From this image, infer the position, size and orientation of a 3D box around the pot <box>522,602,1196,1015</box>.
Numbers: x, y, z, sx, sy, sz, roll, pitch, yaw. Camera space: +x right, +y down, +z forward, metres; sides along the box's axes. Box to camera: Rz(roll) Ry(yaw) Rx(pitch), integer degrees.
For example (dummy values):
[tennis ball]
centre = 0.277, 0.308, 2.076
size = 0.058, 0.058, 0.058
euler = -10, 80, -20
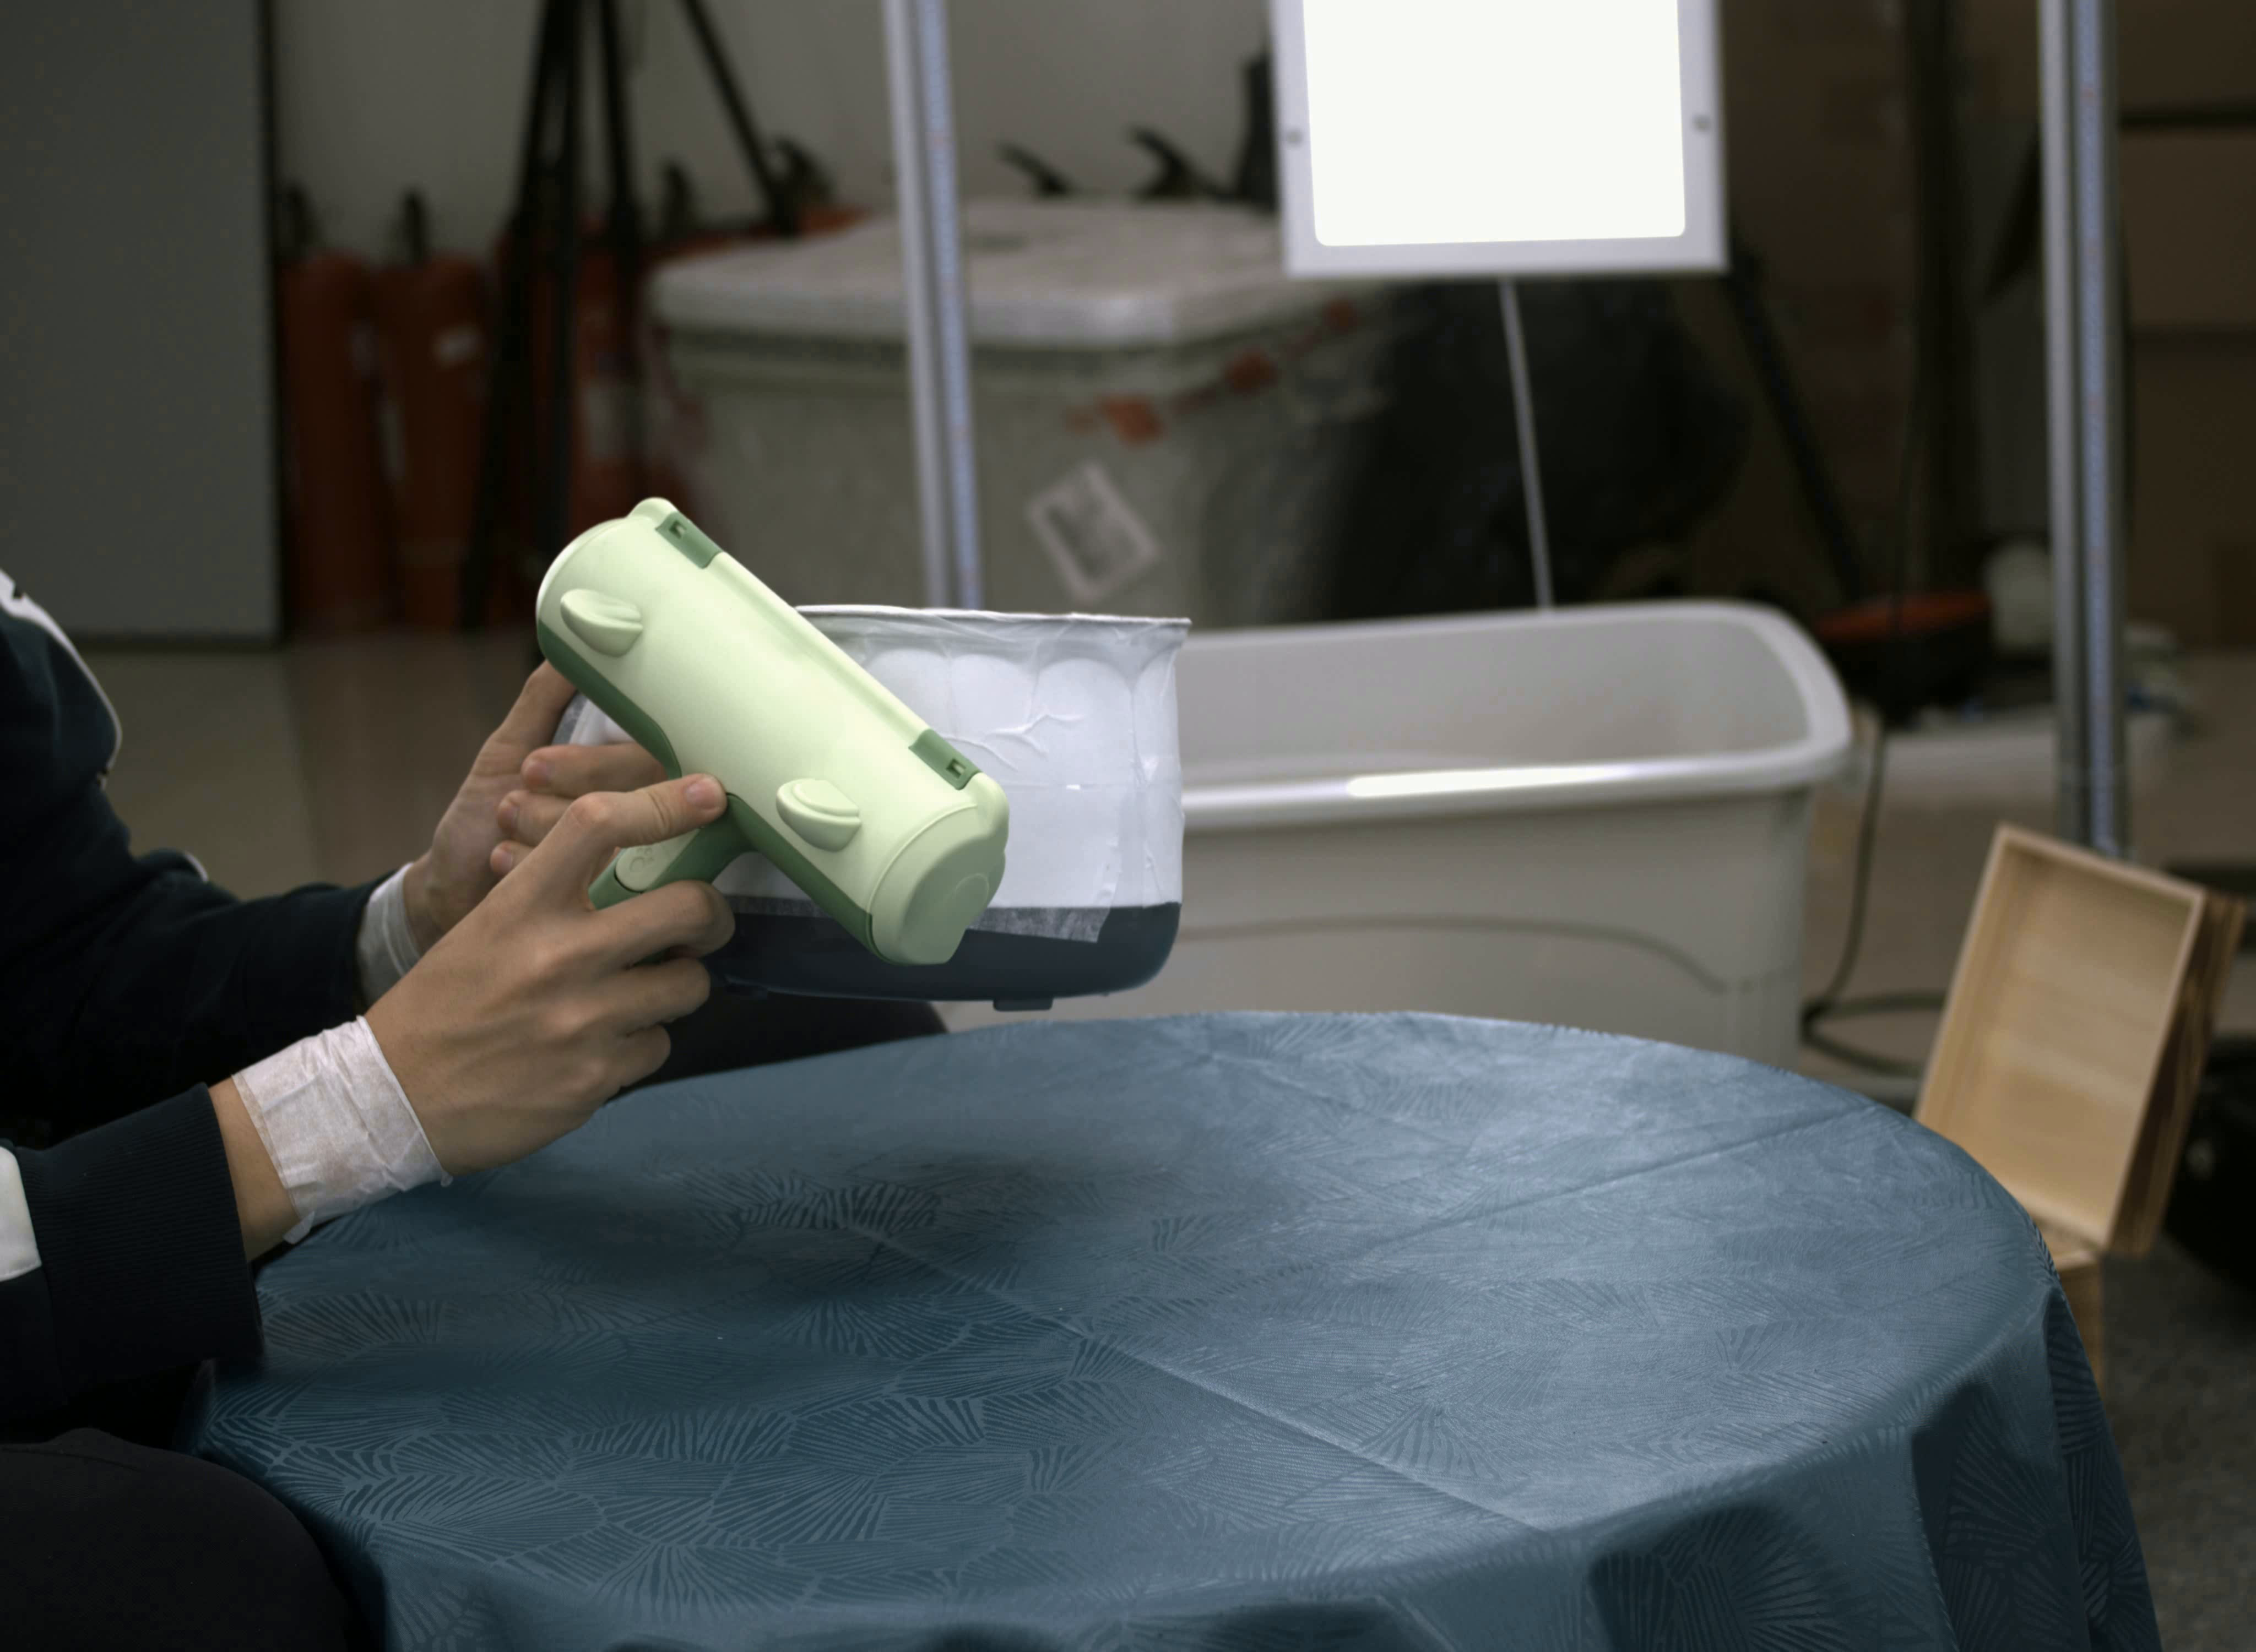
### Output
[pot]
centre = -0.094, -0.010, 1.891
size = 0.236, 0.137, 0.176
euler = 3, 1, 14

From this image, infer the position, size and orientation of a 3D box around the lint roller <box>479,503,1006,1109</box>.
[lint roller]
centre = -0.158, 0.010, 1.777
size = 0.201, 0.183, 0.081
euler = 41, -2, 34
